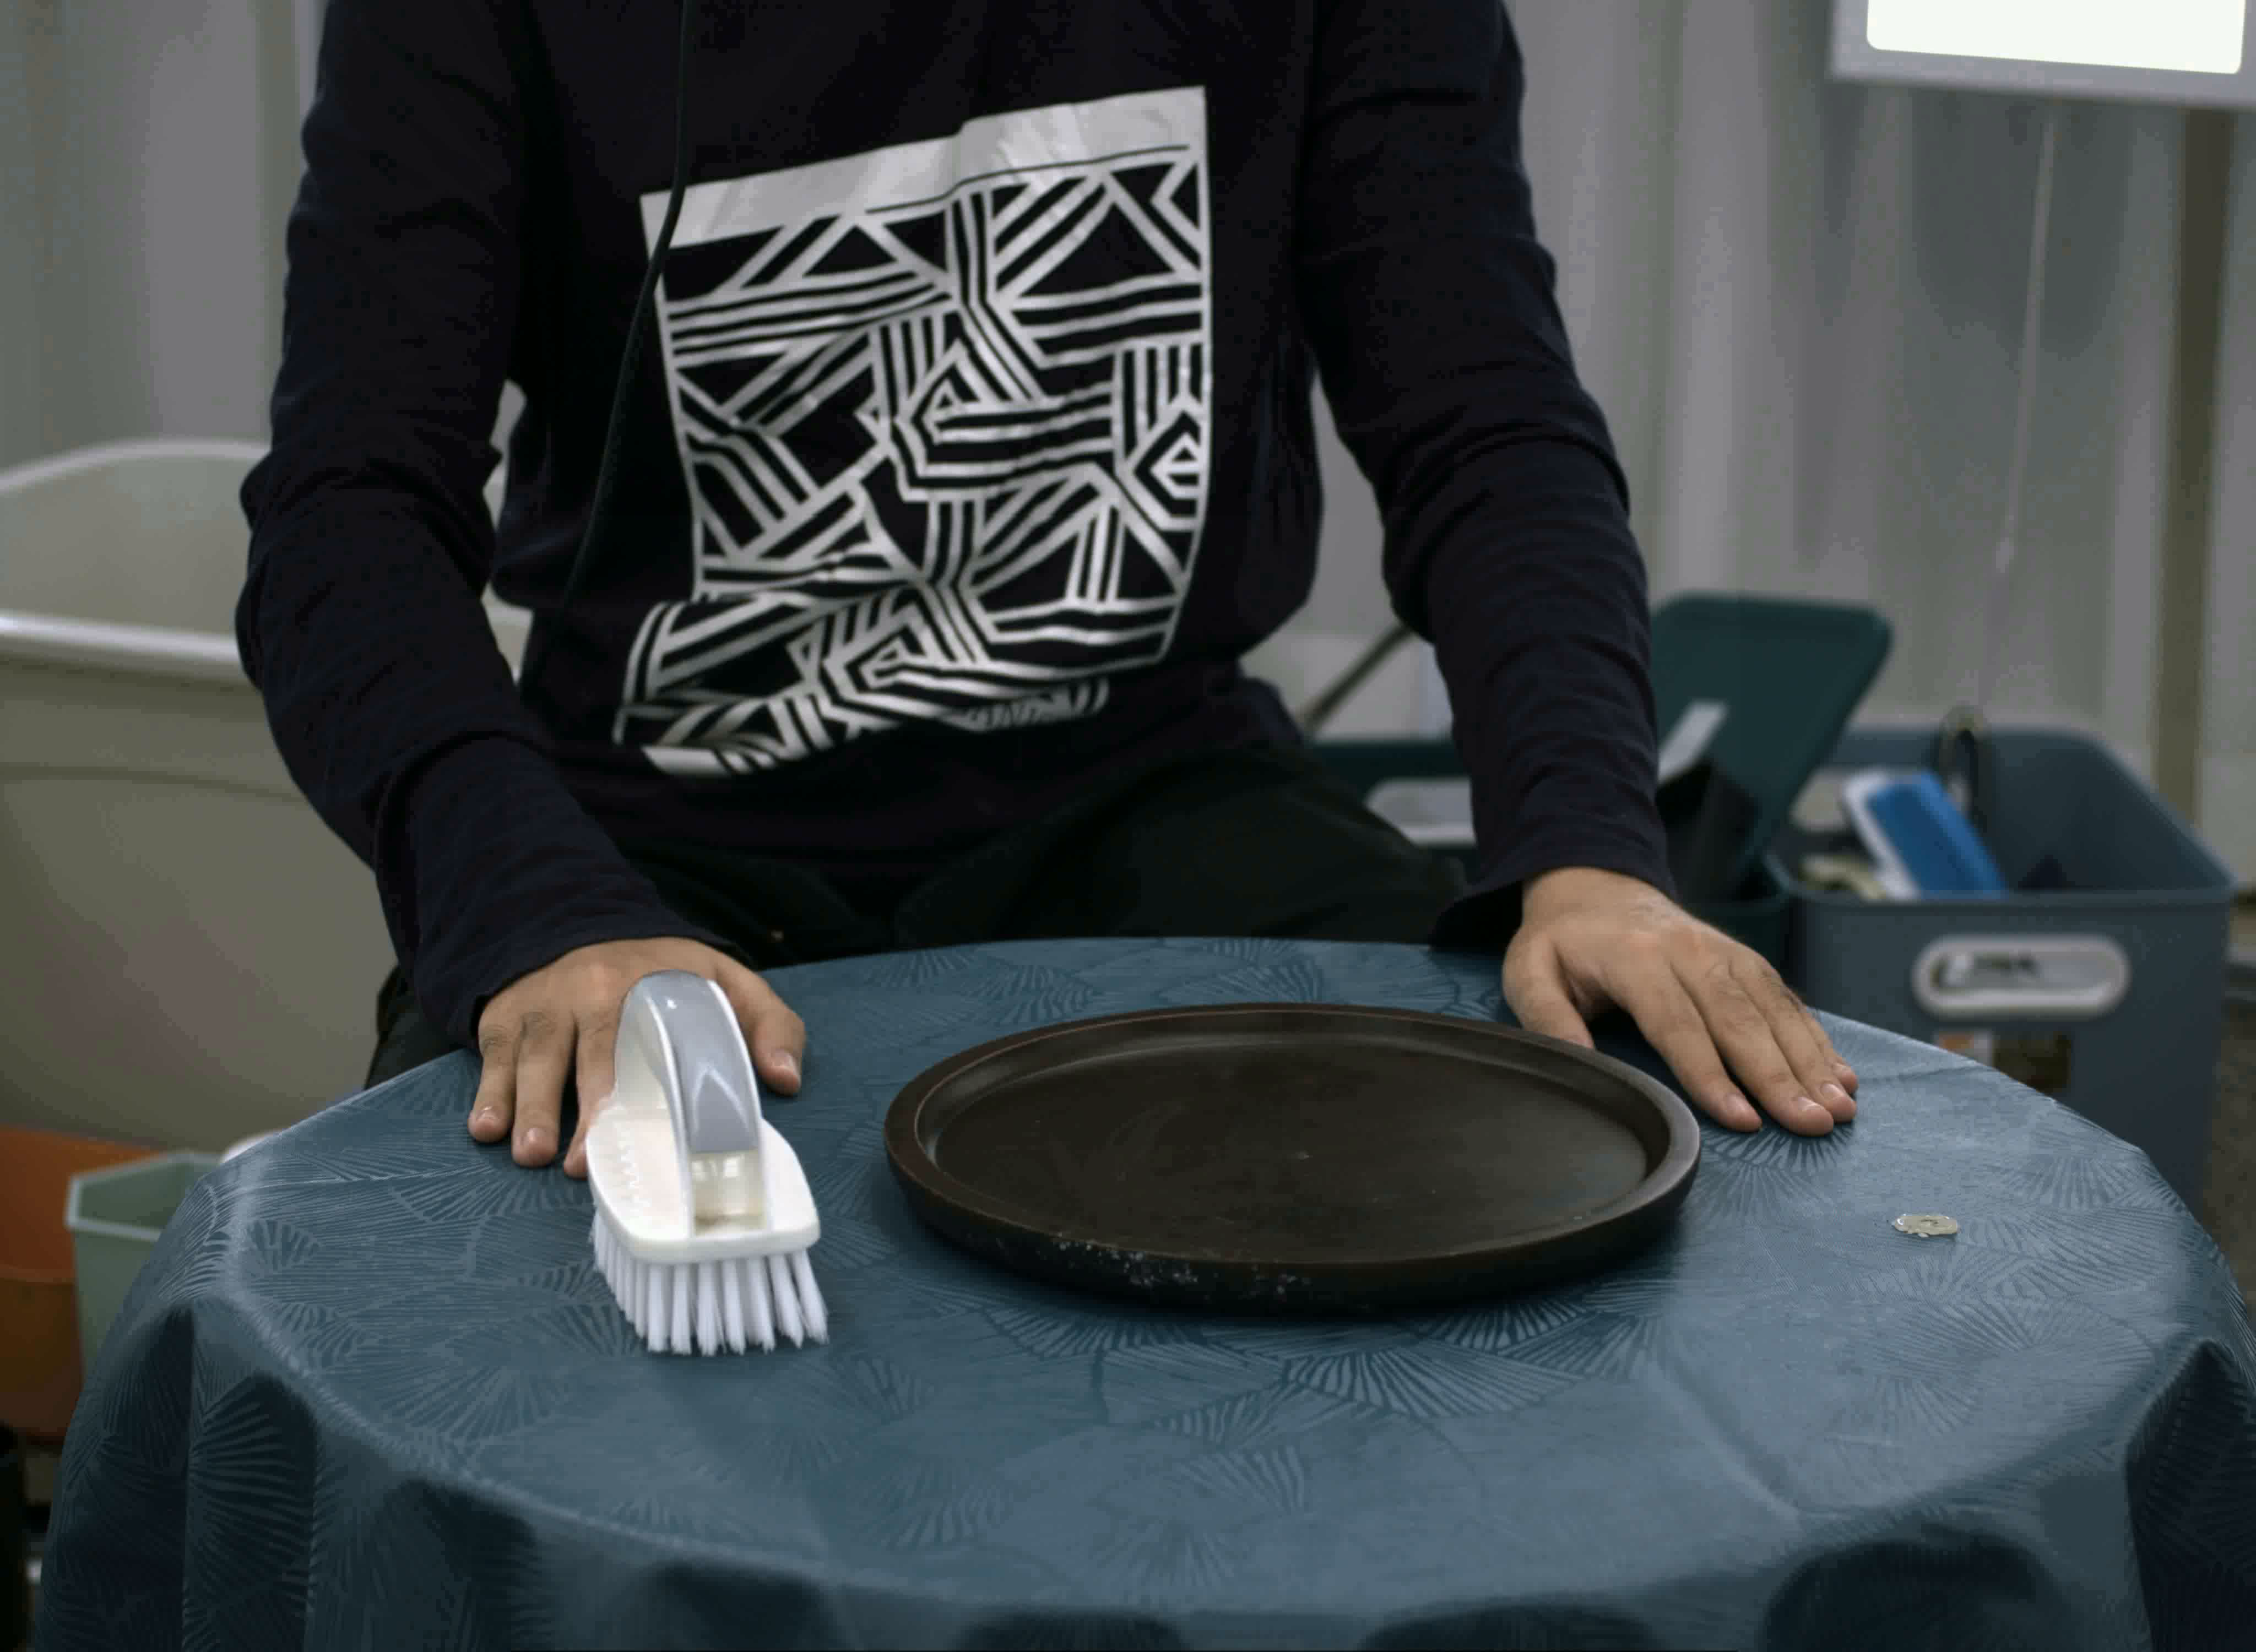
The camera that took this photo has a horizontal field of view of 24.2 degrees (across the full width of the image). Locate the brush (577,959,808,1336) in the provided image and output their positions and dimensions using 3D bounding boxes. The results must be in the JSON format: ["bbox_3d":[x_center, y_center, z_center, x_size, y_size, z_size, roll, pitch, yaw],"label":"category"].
[{"bbox_3d":[-0.134,0.084,1.550,0.061,0.095,0.174,-3,14,-14],"label":"brush"}]

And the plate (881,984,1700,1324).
[{"bbox_3d":[0.050,0.101,1.626,0.254,0.029,0.253,1,17,0],"label":"plate"}]
